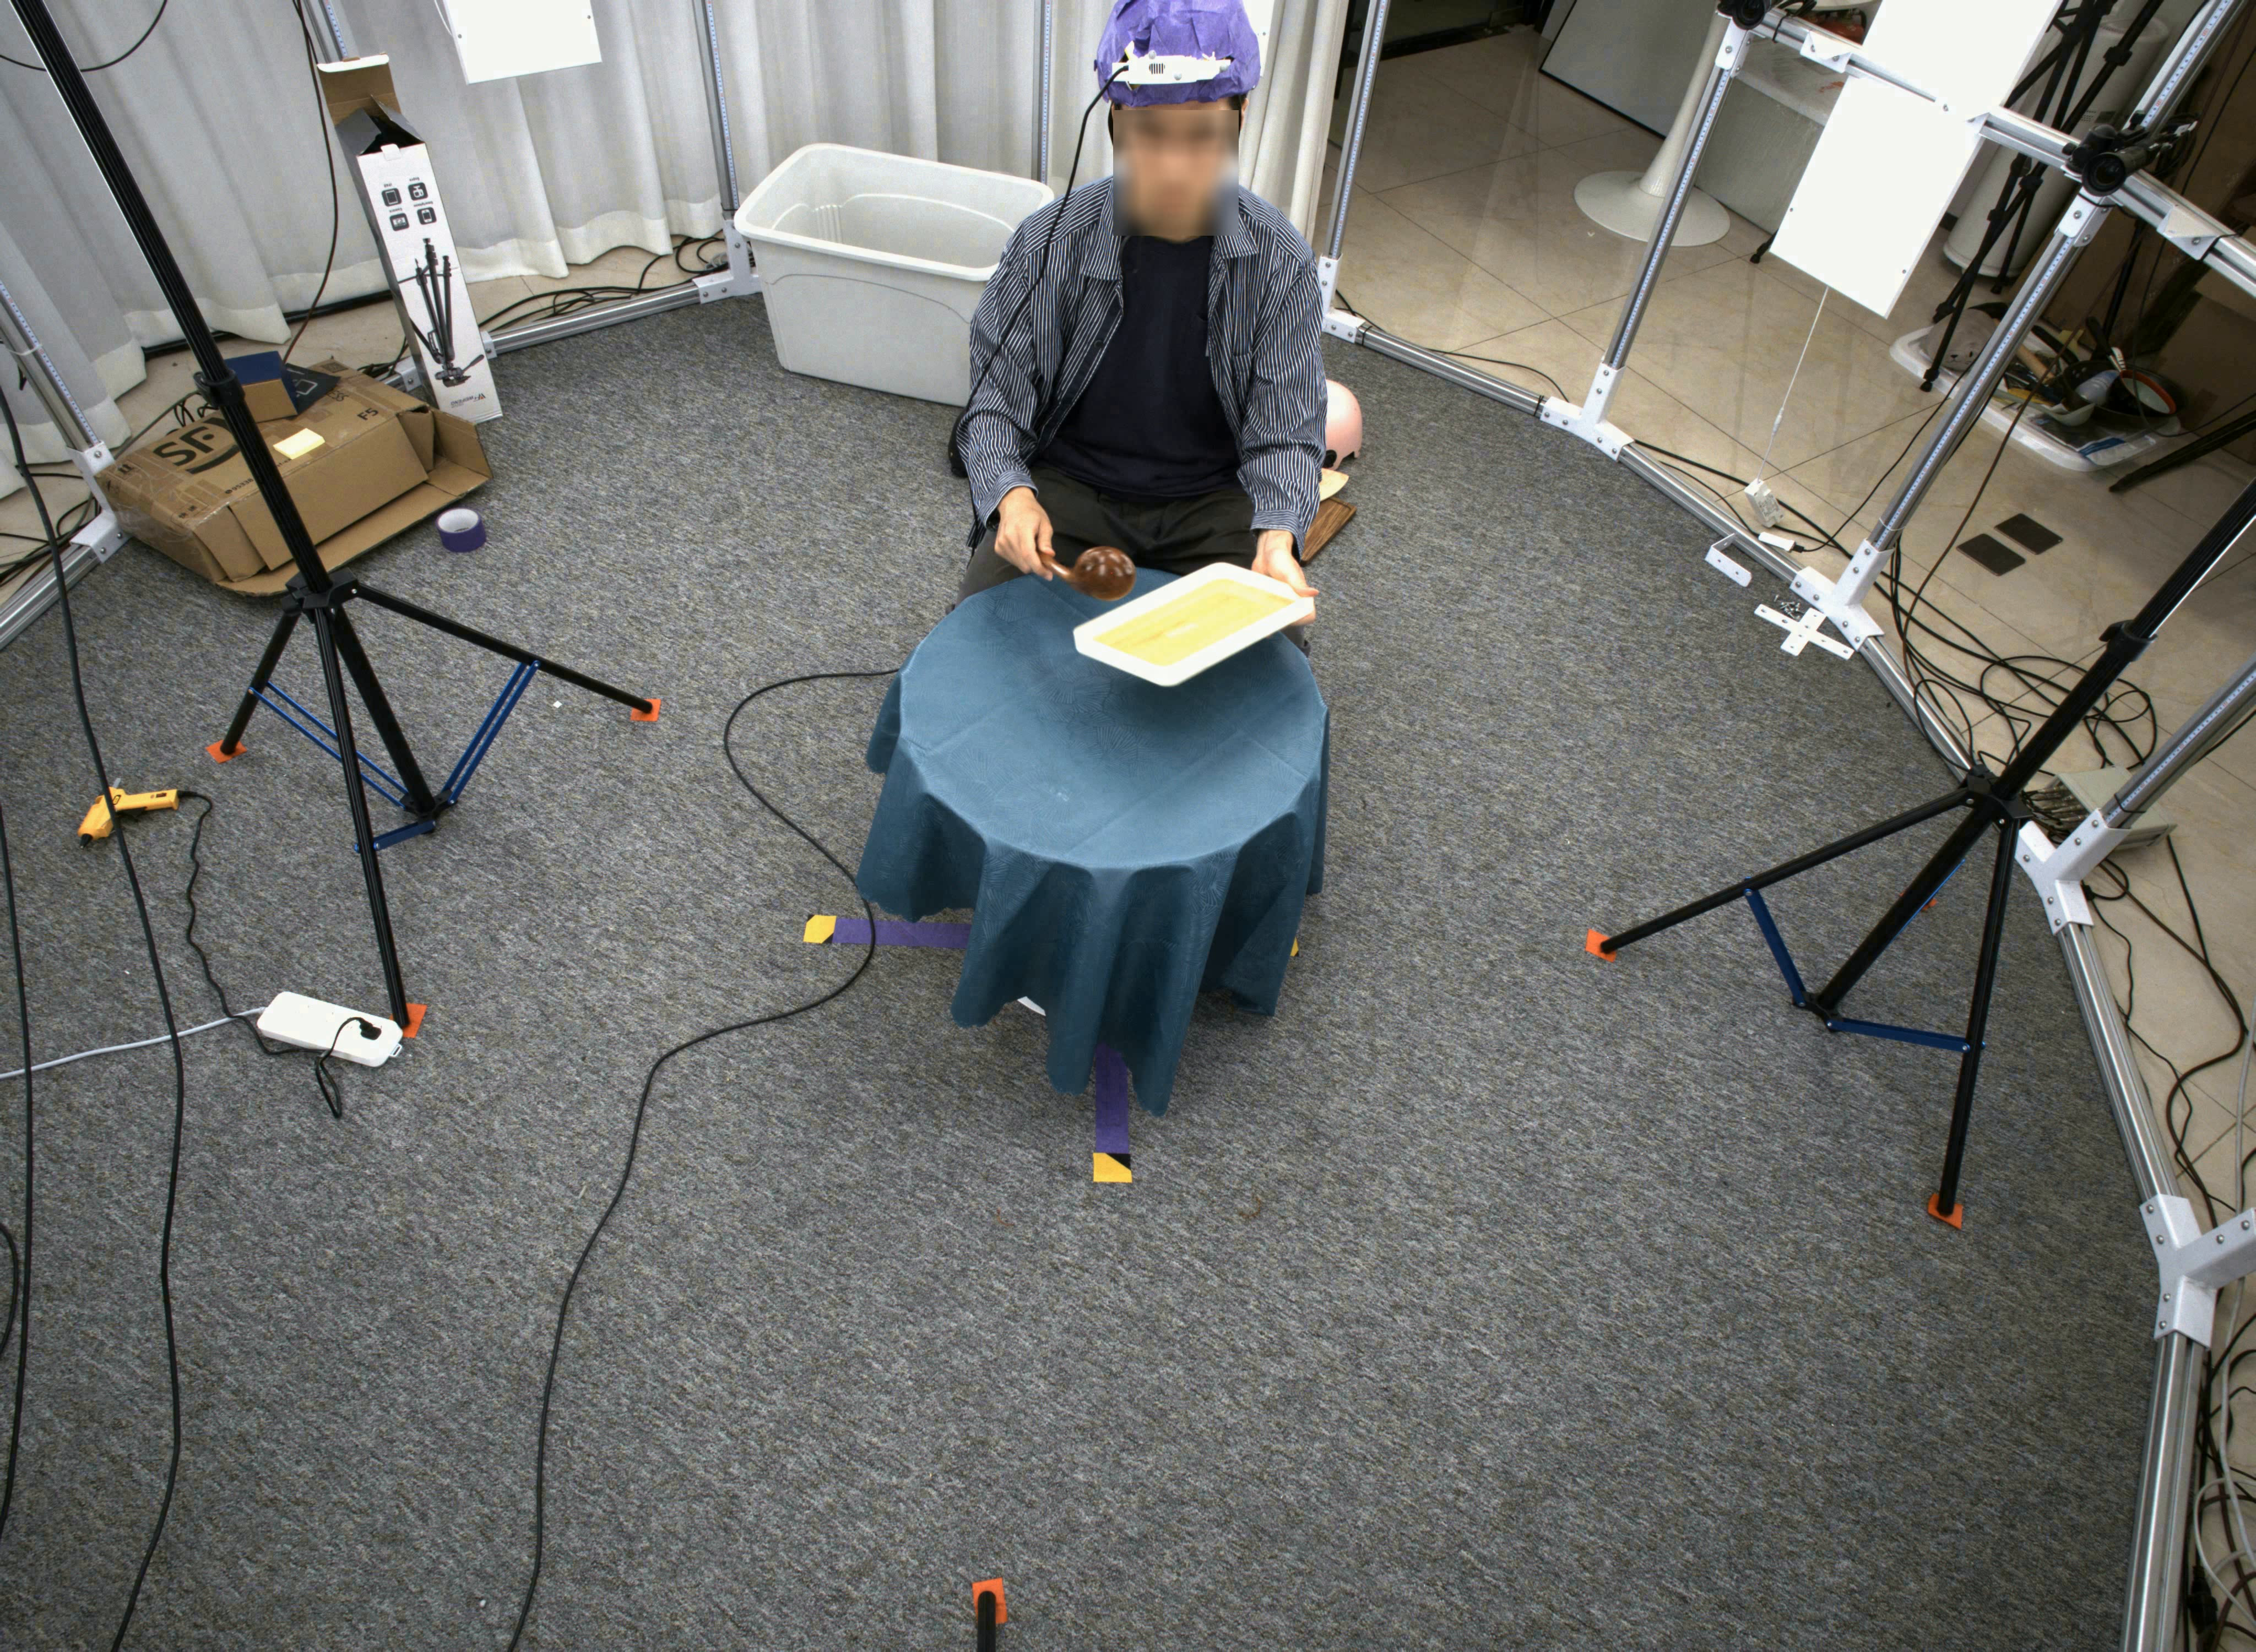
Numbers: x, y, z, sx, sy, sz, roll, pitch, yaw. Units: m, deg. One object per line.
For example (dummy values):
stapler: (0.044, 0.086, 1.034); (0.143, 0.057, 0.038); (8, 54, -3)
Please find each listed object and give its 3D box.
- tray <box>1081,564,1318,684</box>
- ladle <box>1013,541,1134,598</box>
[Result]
tray: (0.101, -0.284, 1.772); (0.302, 0.027, 0.194); (-31, 41, -34)
ladle: (-0.079, -0.373, 1.781); (0.077, 0.080, 0.279); (-35, 32, -10)
